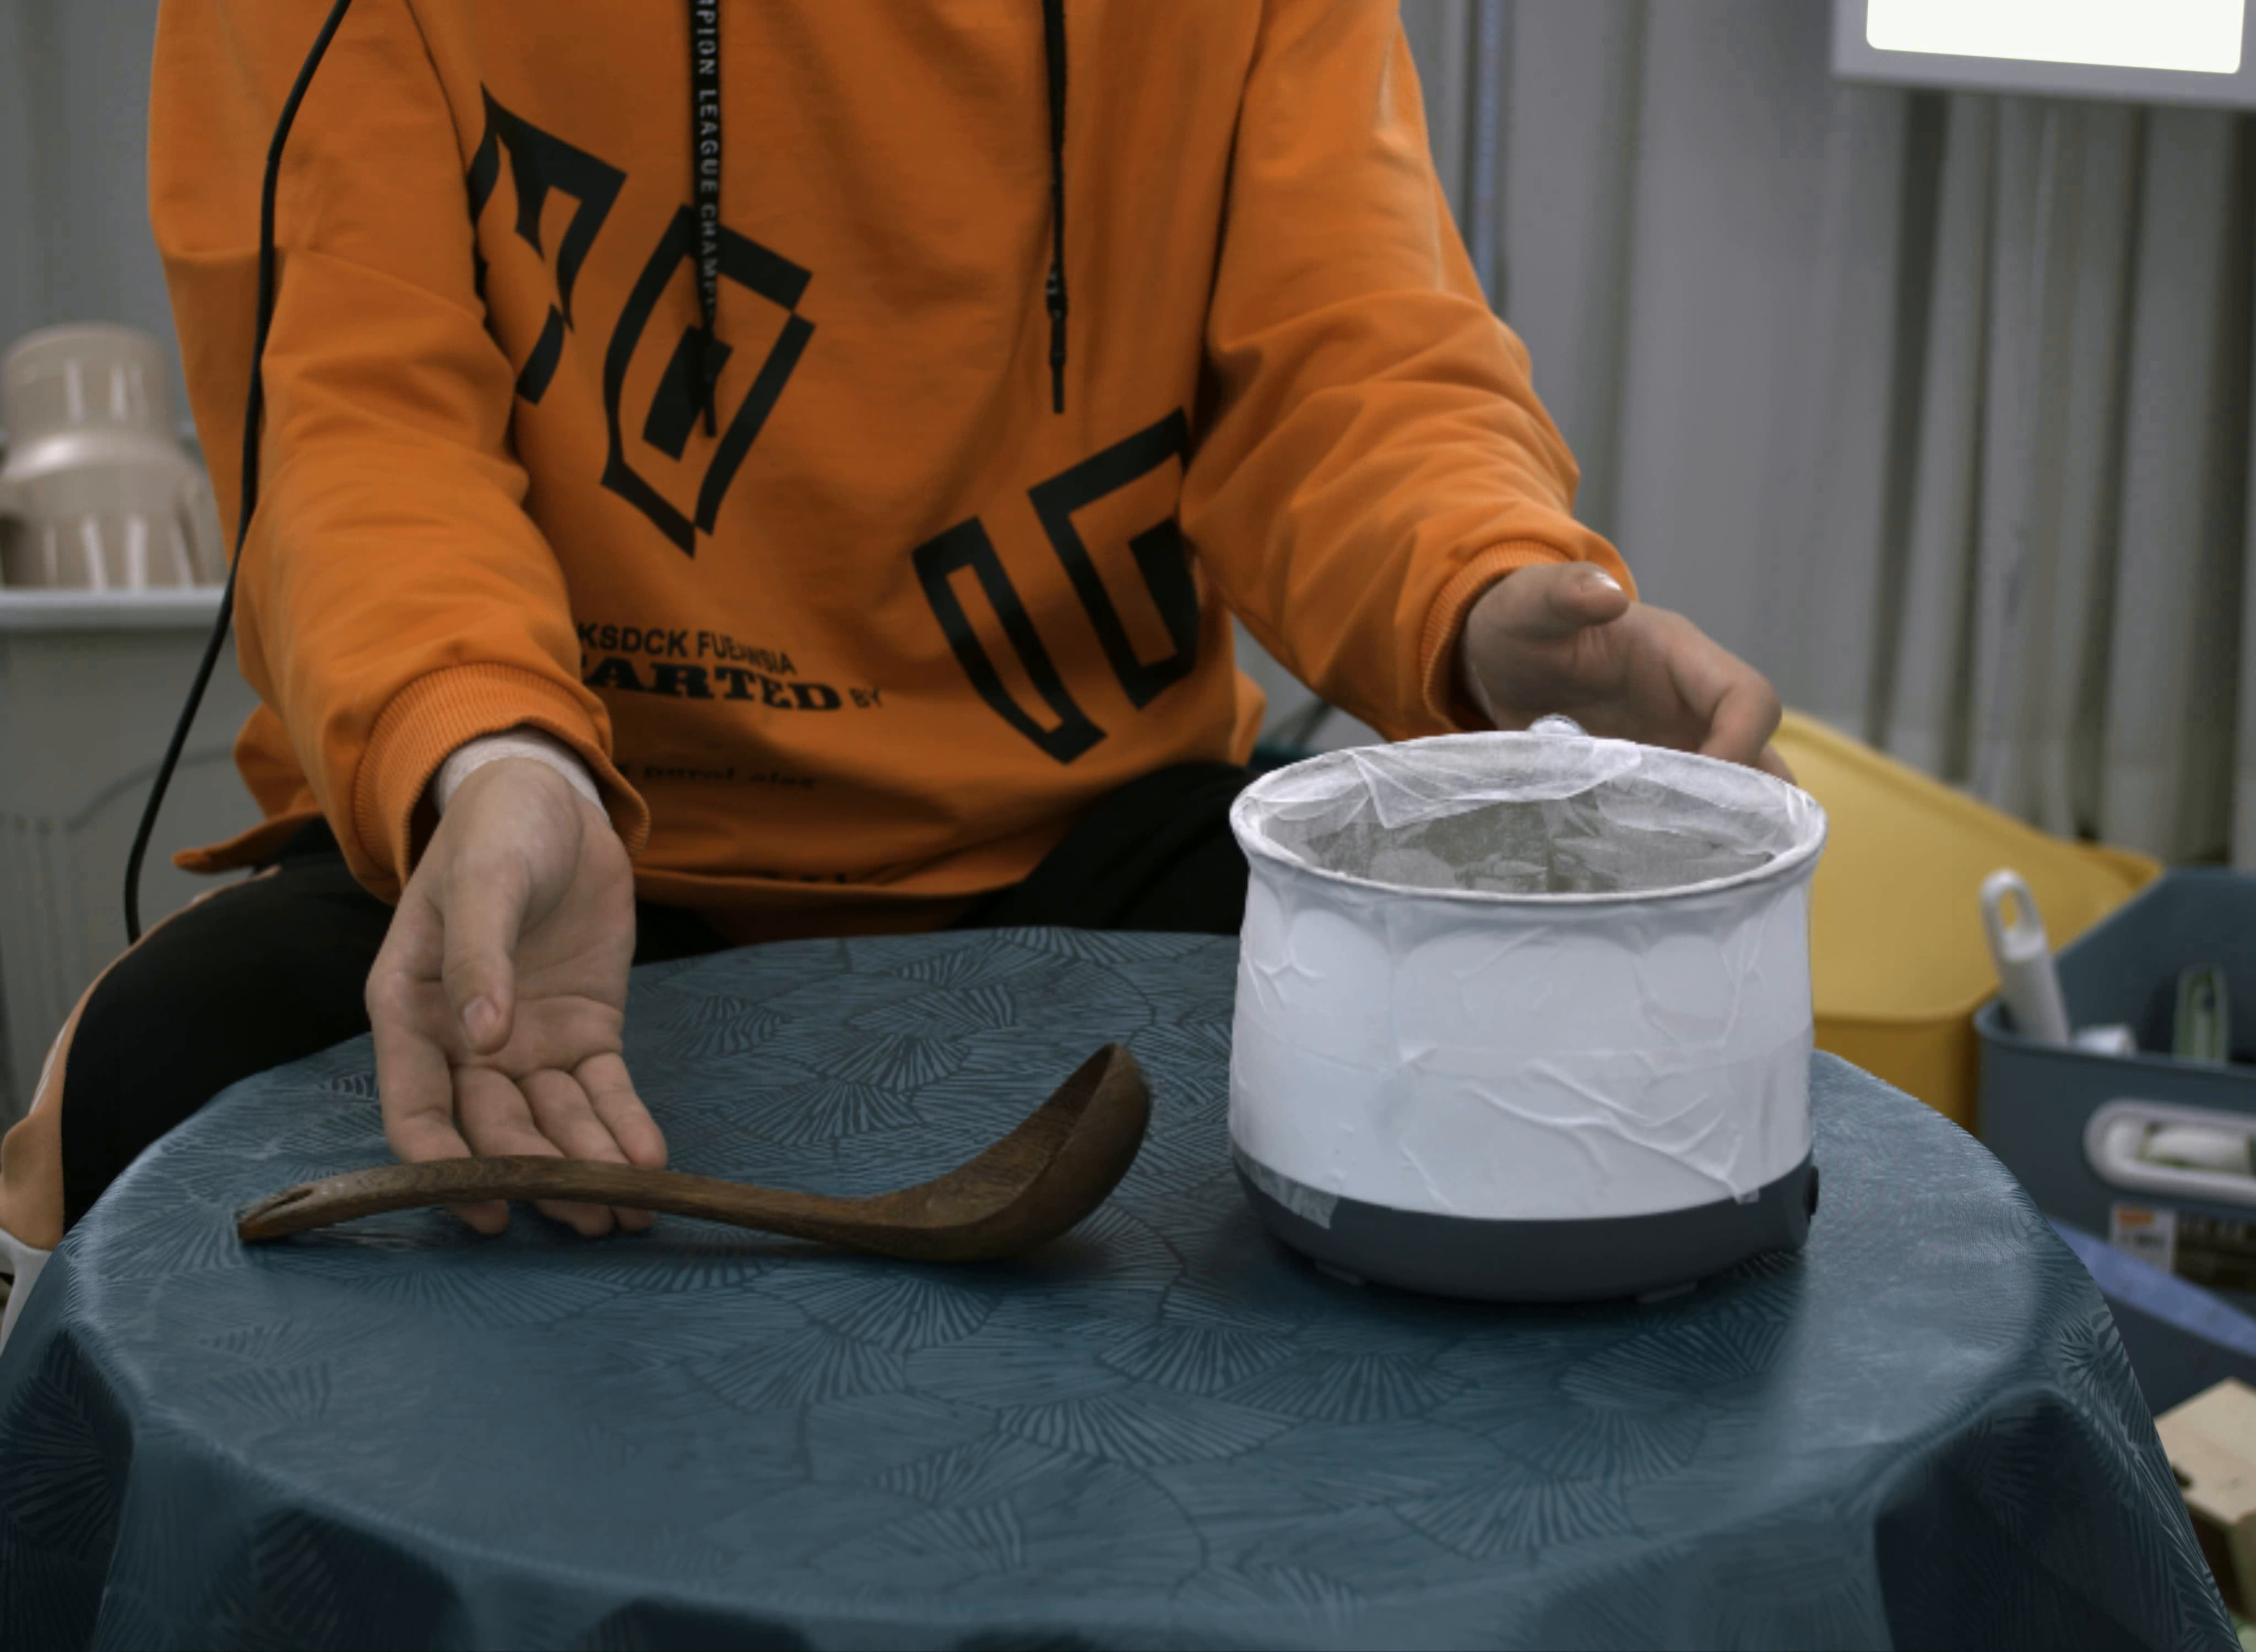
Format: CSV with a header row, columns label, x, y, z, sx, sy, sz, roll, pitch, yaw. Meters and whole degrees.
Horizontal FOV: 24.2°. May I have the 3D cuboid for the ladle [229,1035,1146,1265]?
label,x,y,z,sx,sy,sz,roll,pitch,yaw
ladle,-0.131,0.092,1.560,0.273,0.072,0.076,2,13,3

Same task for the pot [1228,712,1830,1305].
label,x,y,z,sx,sy,sz,roll,pitch,yaw
pot,0.121,0.049,1.596,0.178,0.138,0.233,3,16,7
